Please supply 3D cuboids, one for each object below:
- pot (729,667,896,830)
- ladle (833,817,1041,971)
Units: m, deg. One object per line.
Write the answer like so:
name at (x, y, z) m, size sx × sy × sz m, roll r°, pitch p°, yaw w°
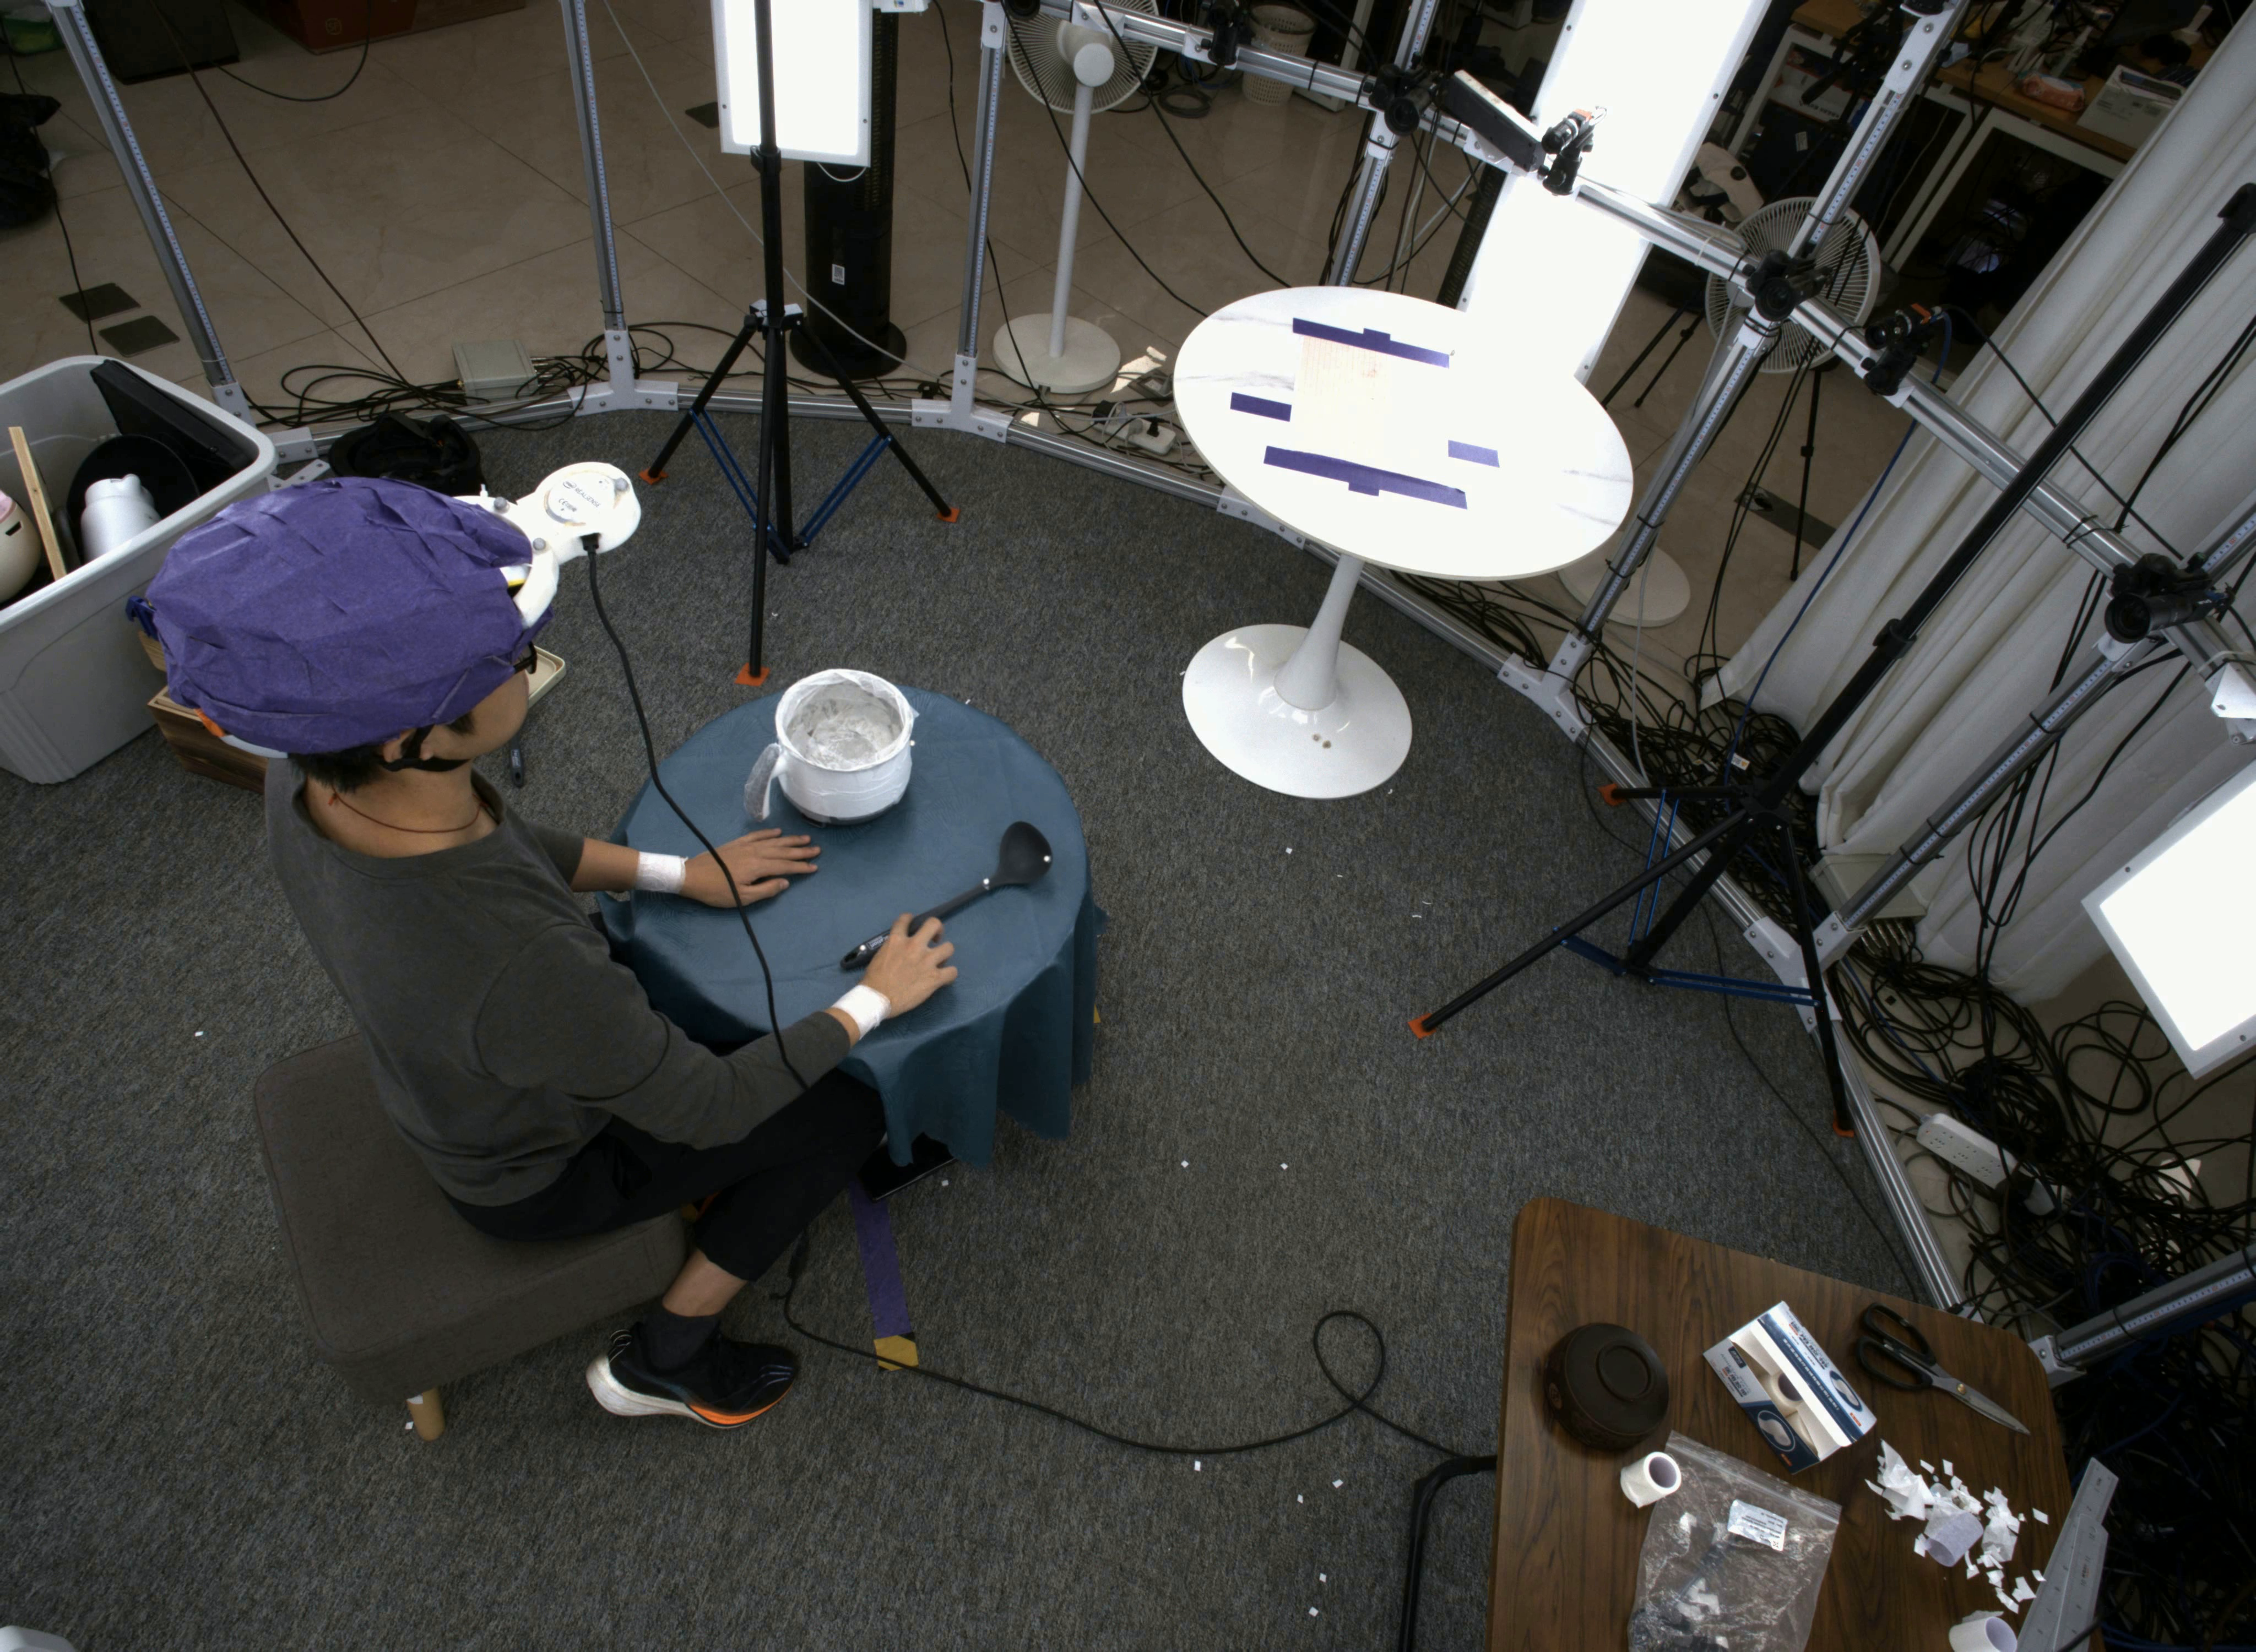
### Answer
pot at (-0.420, -0.089, 1.714) m, size 0.234 × 0.139 × 0.174 m, roll -30°, pitch 65°, yaw -31°
ladle at (-0.247, 0.089, 1.674) m, size 0.315 × 0.065 × 0.083 m, roll -31°, pitch 59°, yaw -31°
